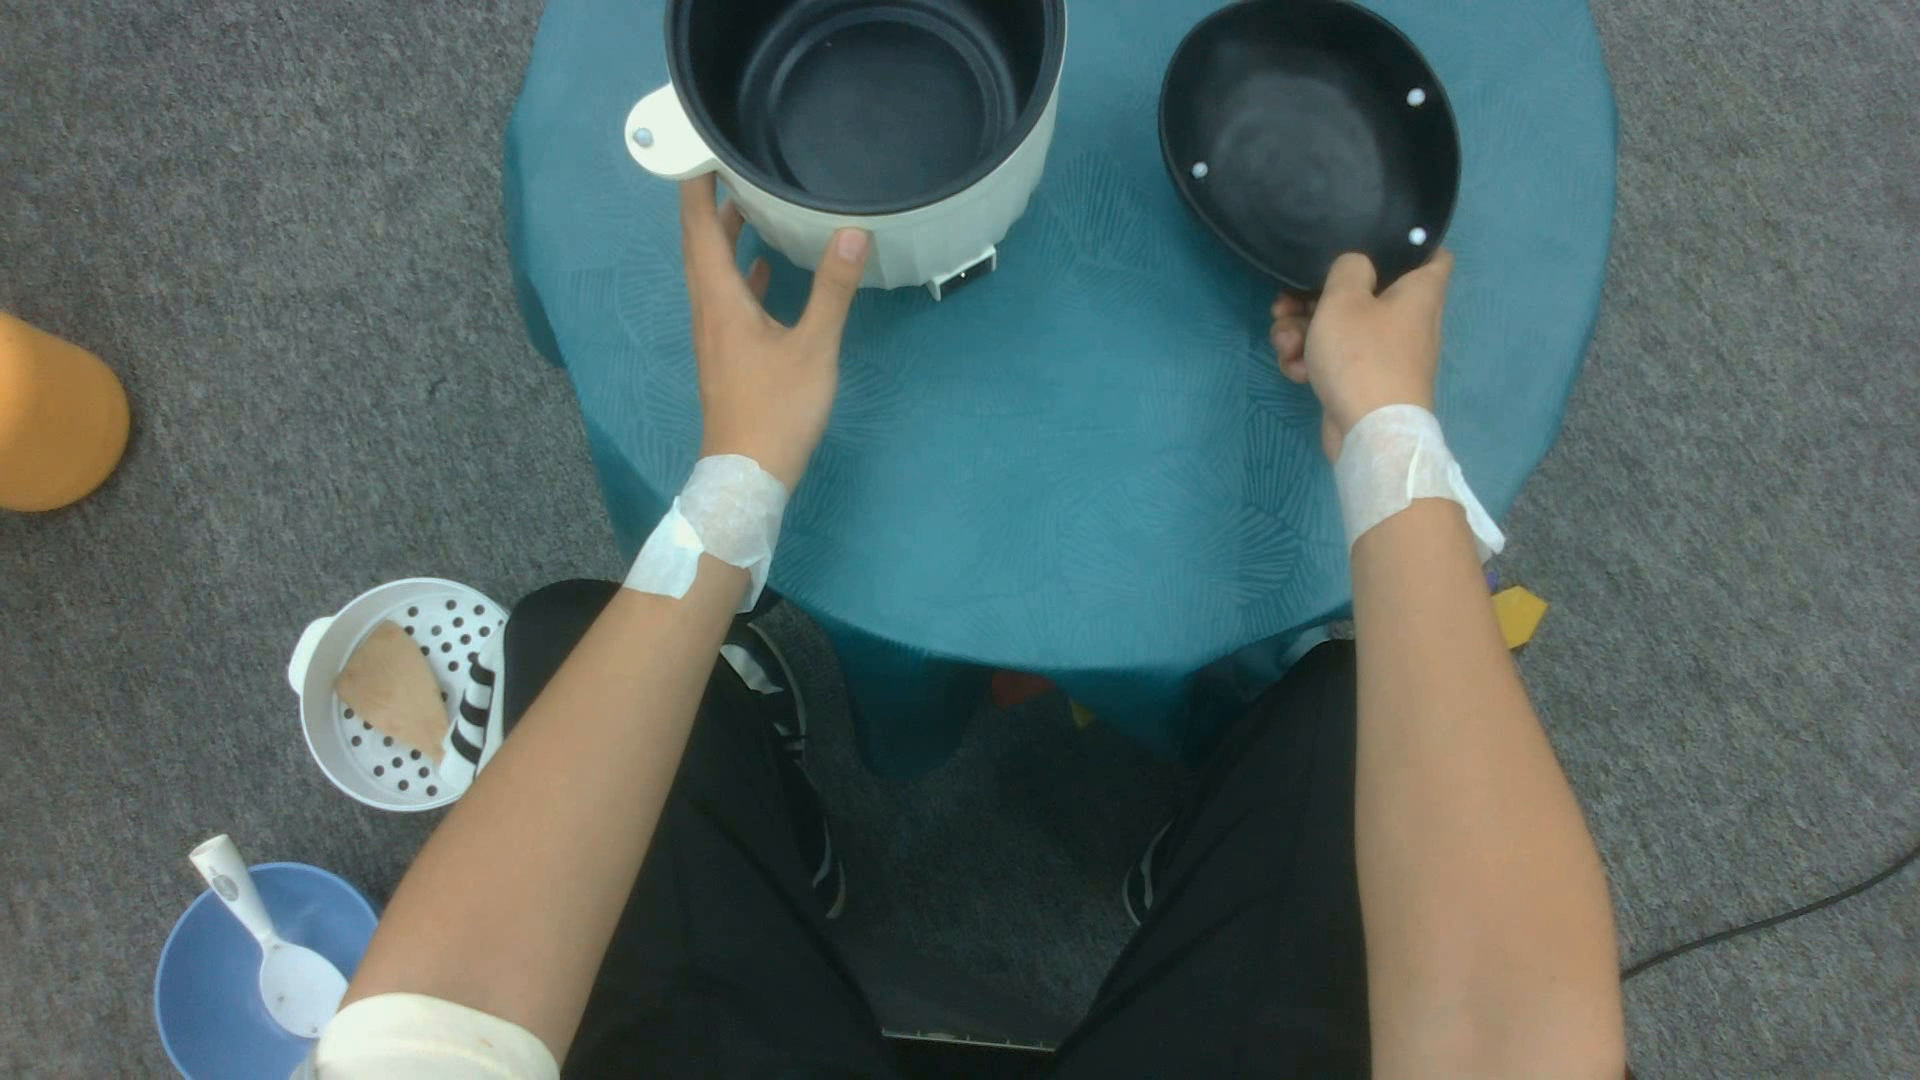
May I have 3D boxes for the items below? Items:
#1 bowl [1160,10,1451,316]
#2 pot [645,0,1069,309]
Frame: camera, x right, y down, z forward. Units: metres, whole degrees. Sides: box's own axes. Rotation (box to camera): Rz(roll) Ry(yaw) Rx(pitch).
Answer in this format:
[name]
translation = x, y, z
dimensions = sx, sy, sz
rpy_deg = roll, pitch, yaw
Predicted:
[bowl]
translation = 0.178, -0.190, 0.722
dimensions = 0.137, 0.066, 0.170
rpy_deg = -32, 79, -1
[pot]
translation = -0.042, -0.221, 0.703
dimensions = 0.240, 0.142, 0.190
rpy_deg = -31, 84, -5
